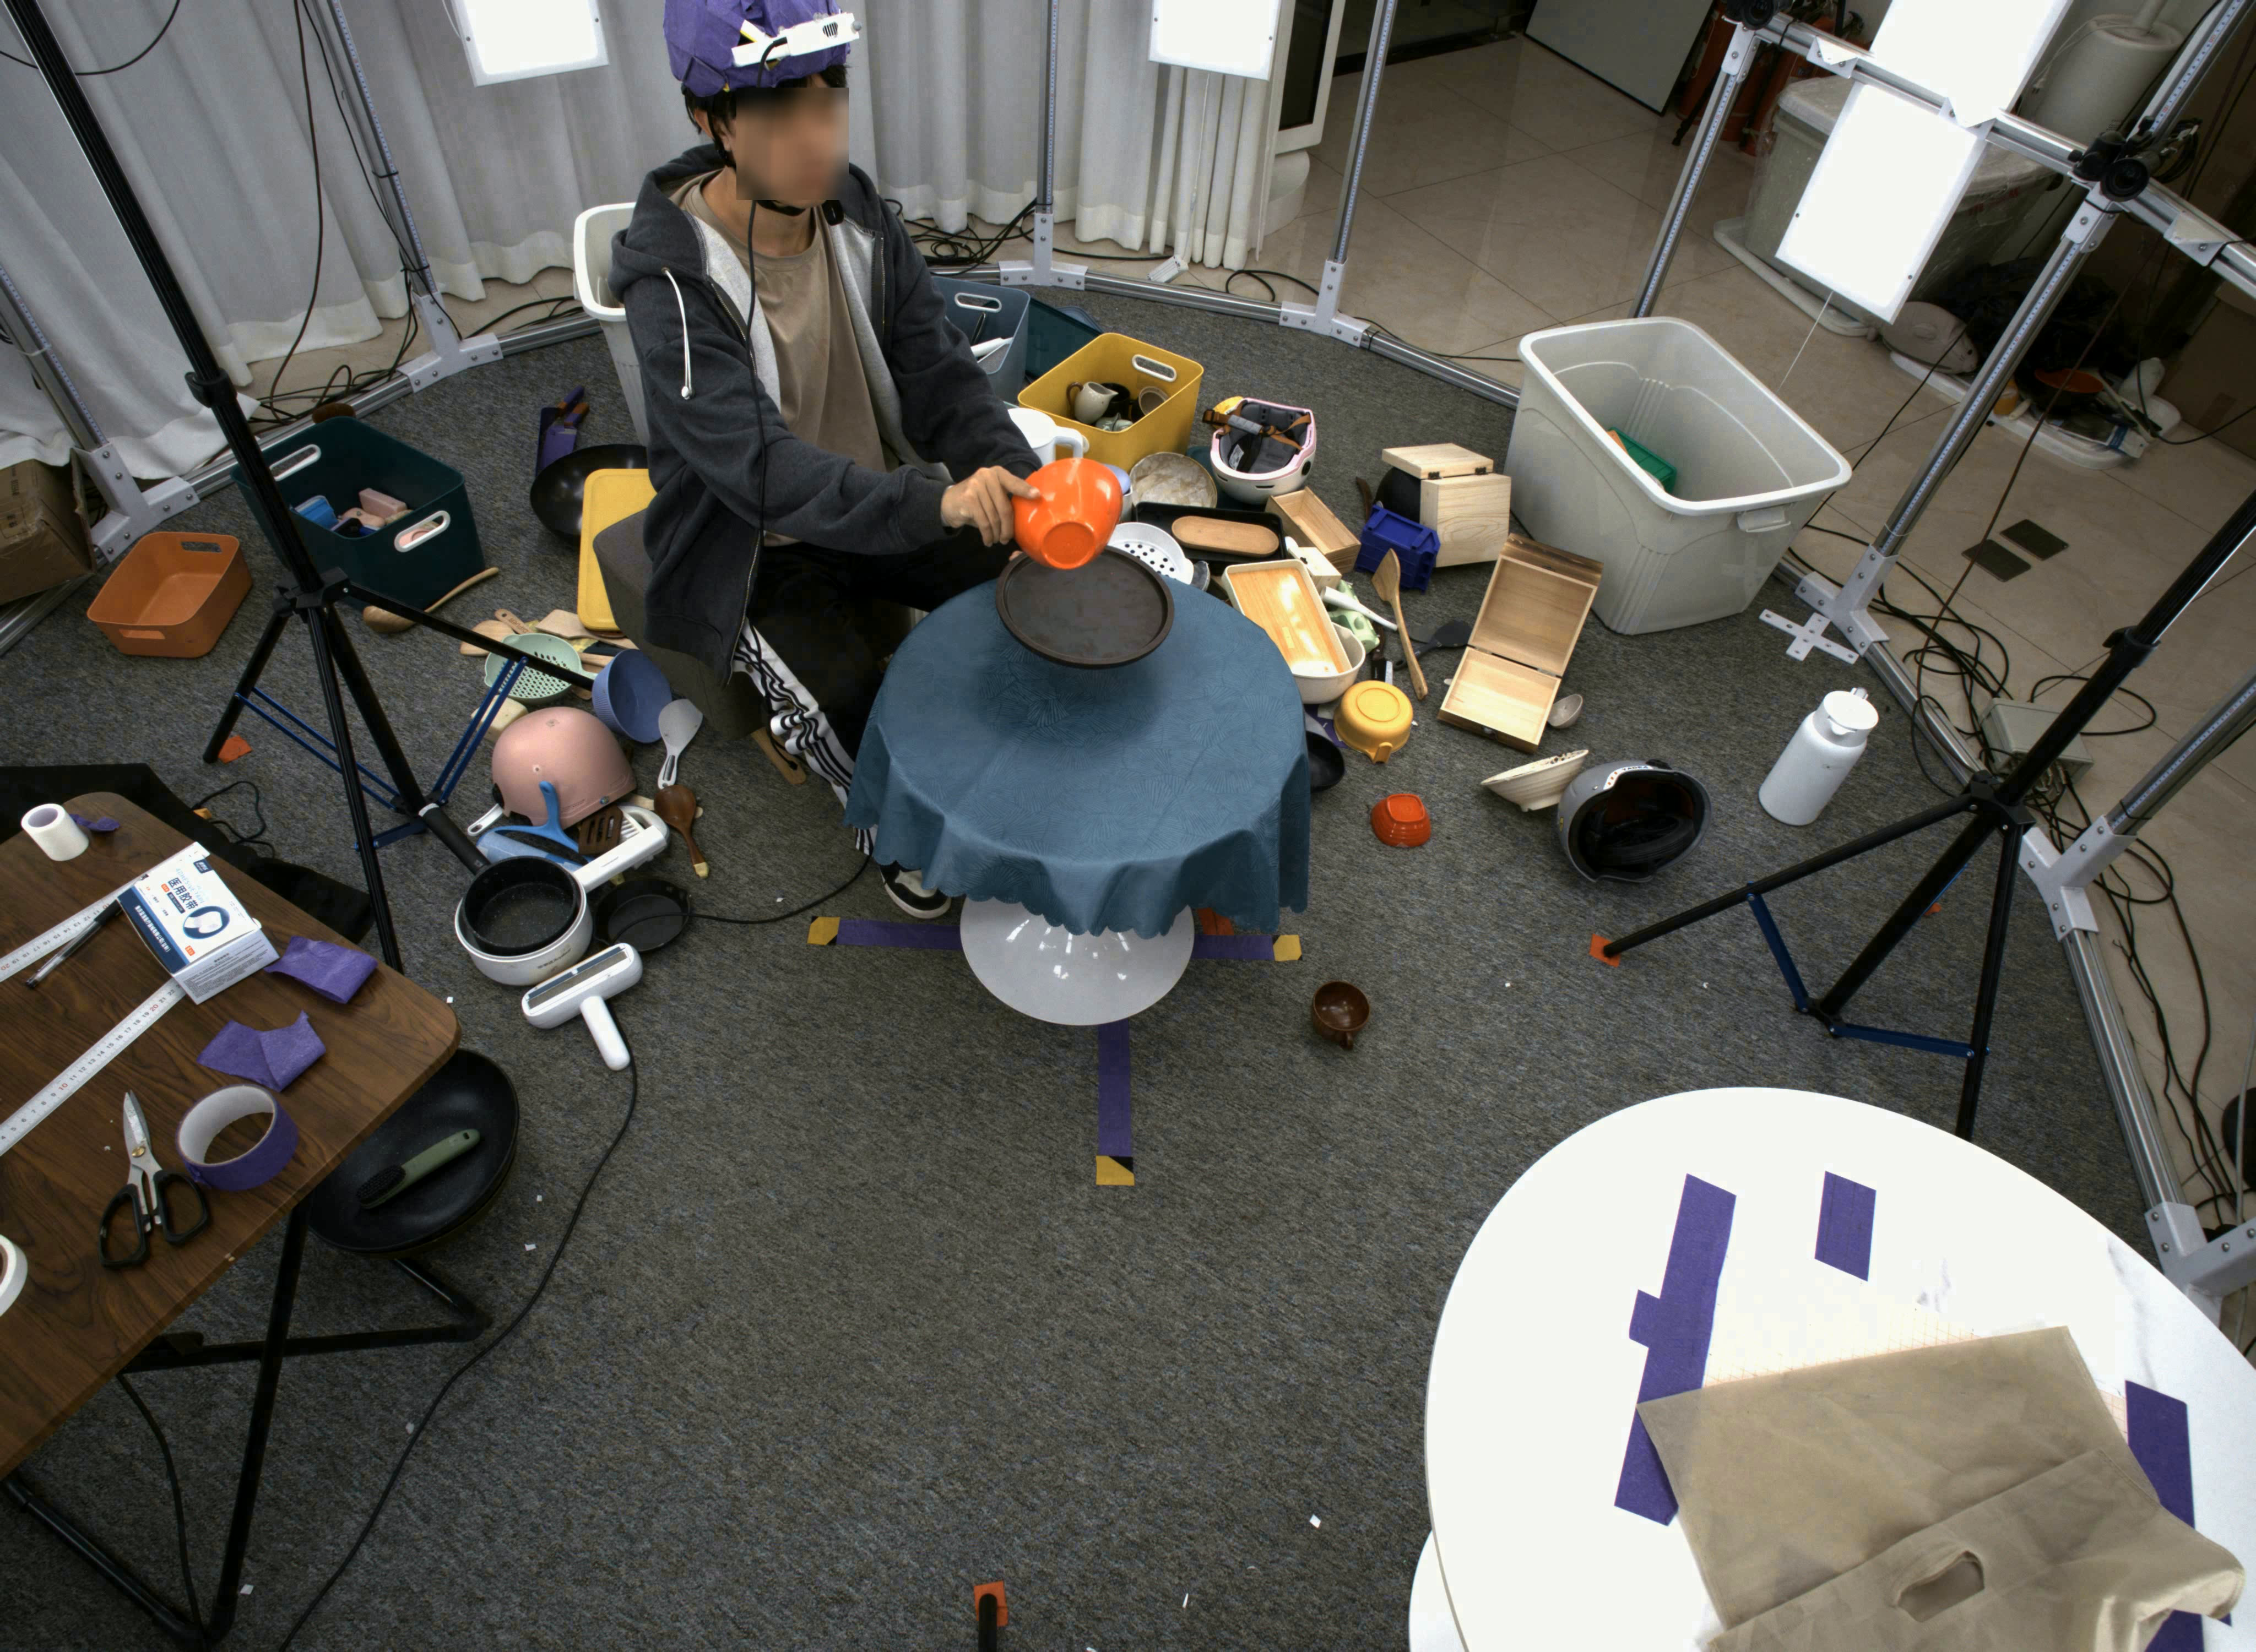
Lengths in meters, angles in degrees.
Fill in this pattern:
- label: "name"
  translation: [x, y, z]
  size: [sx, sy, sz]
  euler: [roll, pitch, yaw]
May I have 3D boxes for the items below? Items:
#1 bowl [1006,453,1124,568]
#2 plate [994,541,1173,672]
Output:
- label: "bowl"
  translation: [-0.070, -0.364, 1.552]
  size: [0.148, 0.144, 0.107]
  euler: [-4, 42, -8]
- label: "plate"
  translation: [-0.061, -0.310, 1.805]
  size: [0.254, 0.028, 0.261]
  euler: [4, 51, -5]
